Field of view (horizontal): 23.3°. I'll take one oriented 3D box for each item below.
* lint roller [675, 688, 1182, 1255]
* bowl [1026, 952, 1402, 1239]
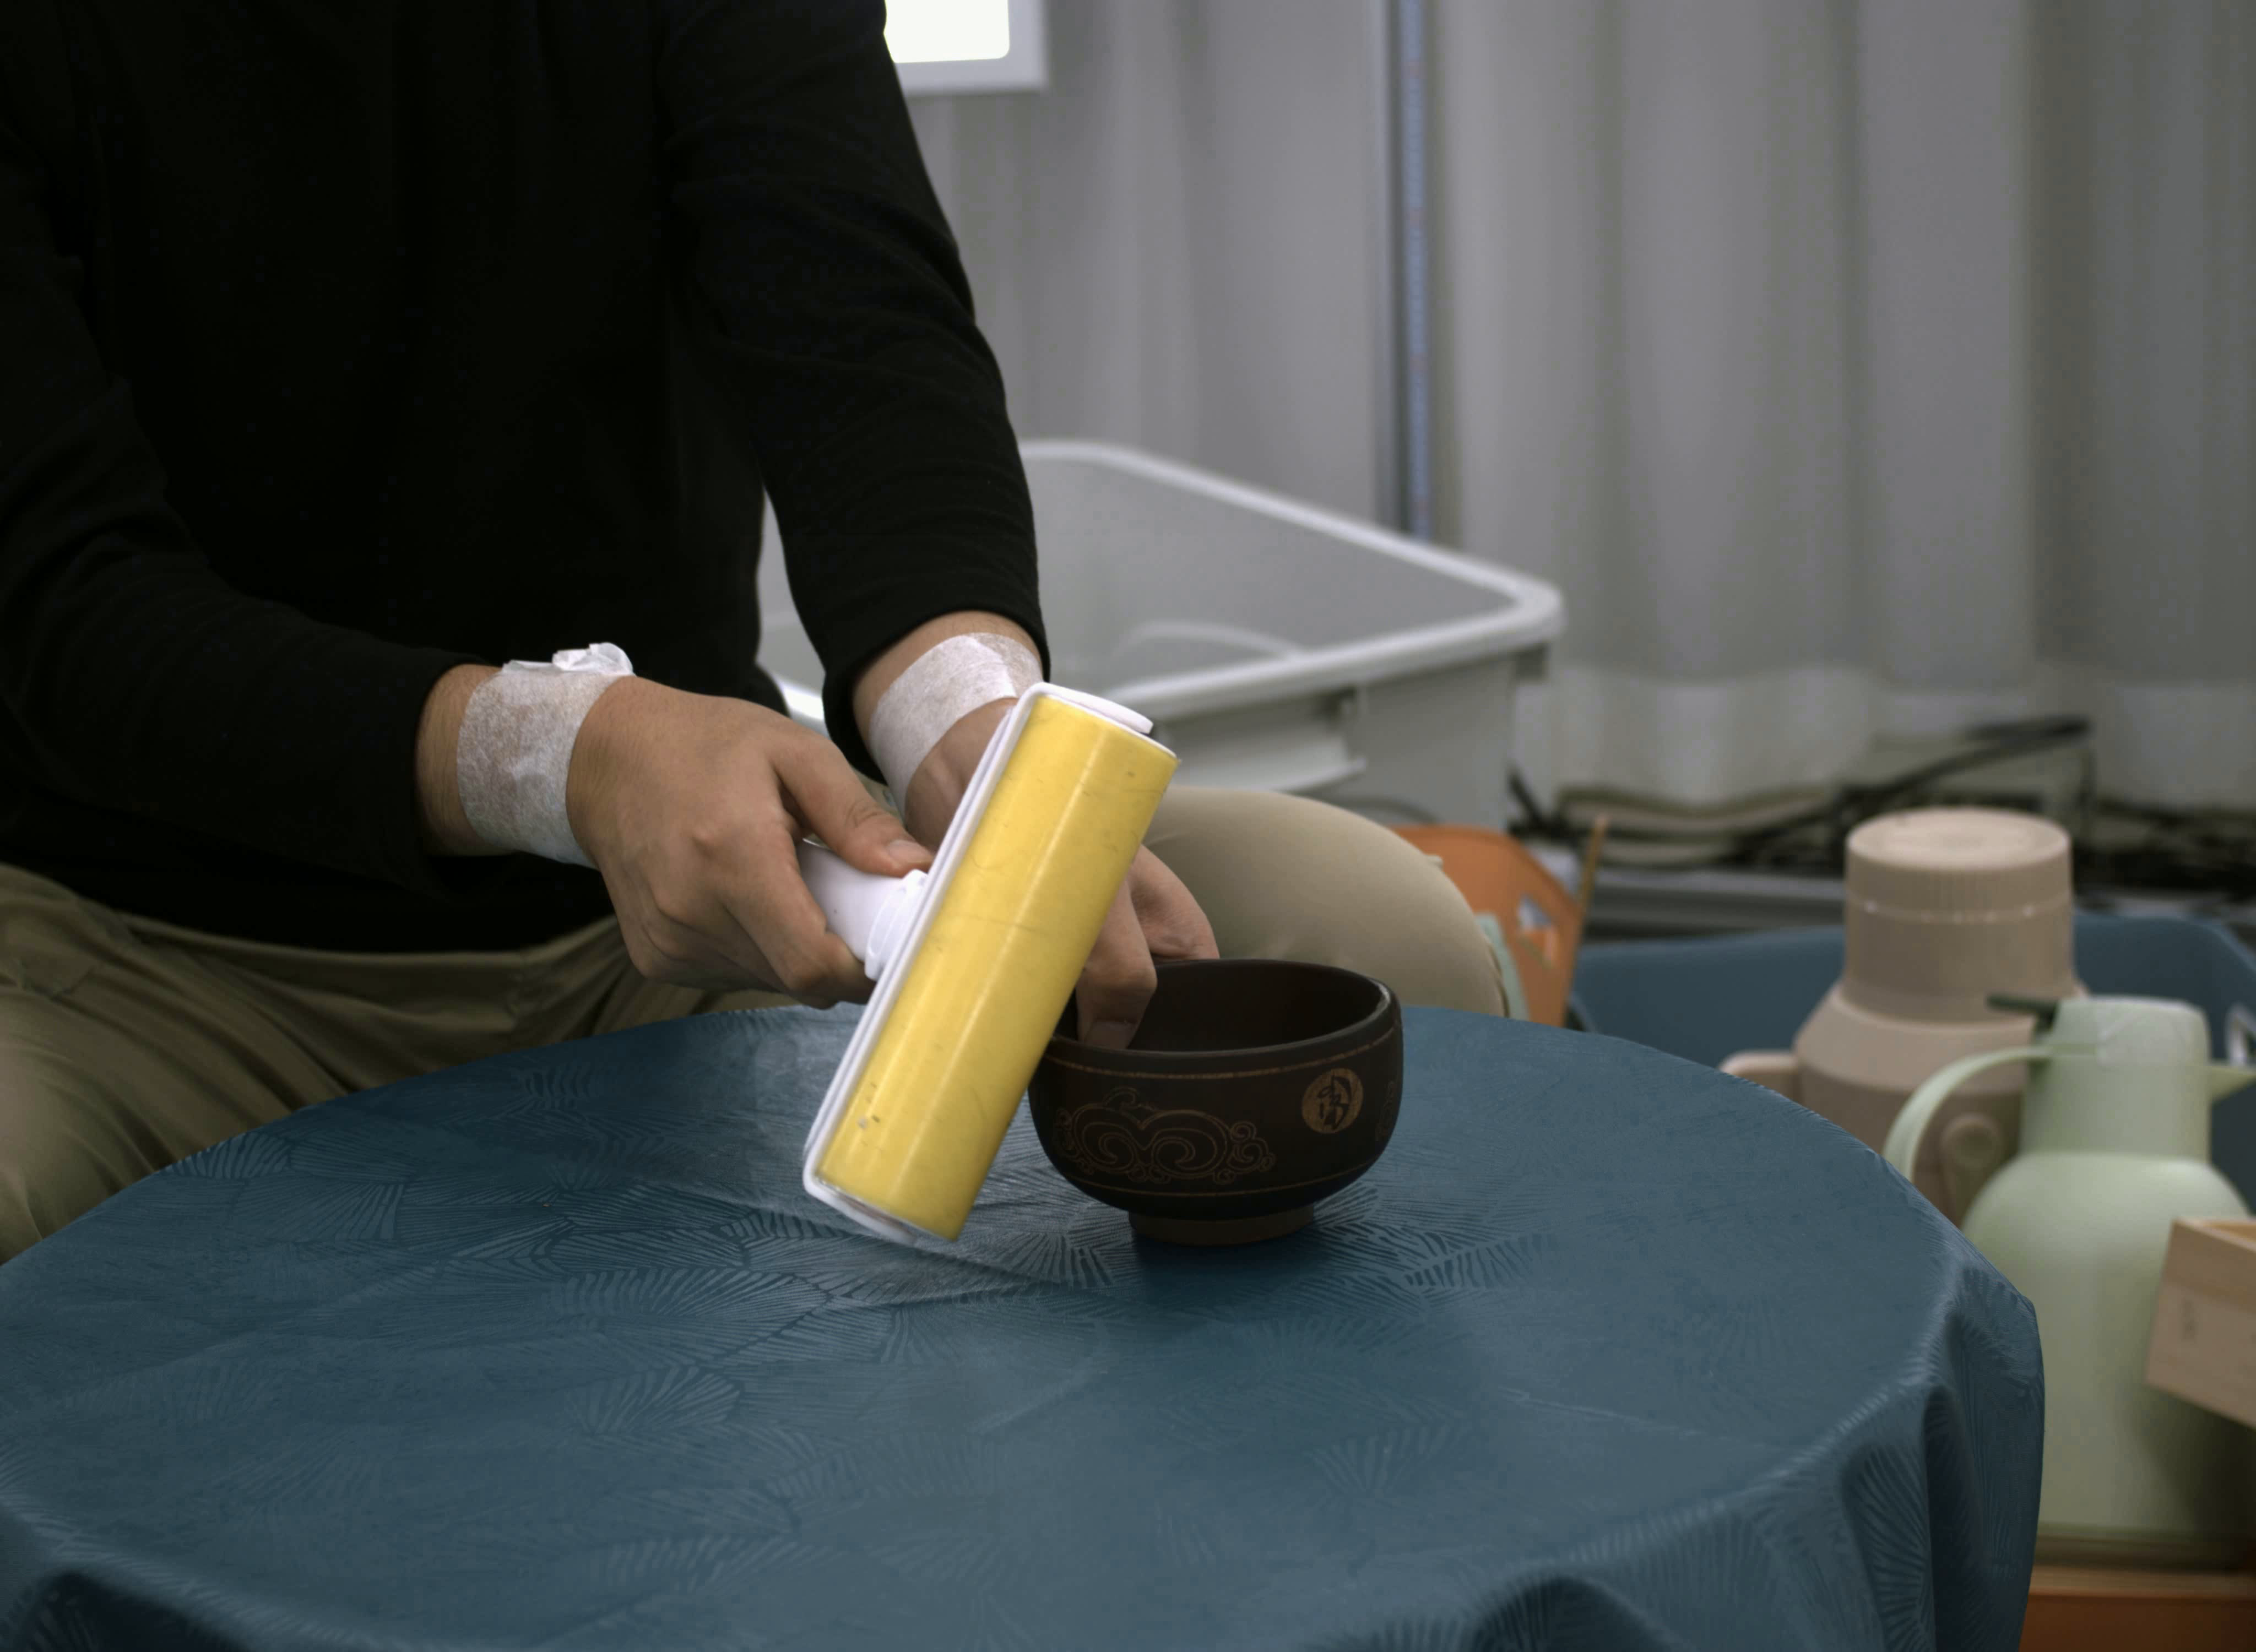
[{"bbox_3d":[-0.086,0.028,1.686,0.193,0.175,0.051,18,-8,42],"label":"lint roller"},{"bbox_3d":[0.026,0.086,1.673,0.117,0.069,0.118,-2,12,0],"label":"bowl"}]
